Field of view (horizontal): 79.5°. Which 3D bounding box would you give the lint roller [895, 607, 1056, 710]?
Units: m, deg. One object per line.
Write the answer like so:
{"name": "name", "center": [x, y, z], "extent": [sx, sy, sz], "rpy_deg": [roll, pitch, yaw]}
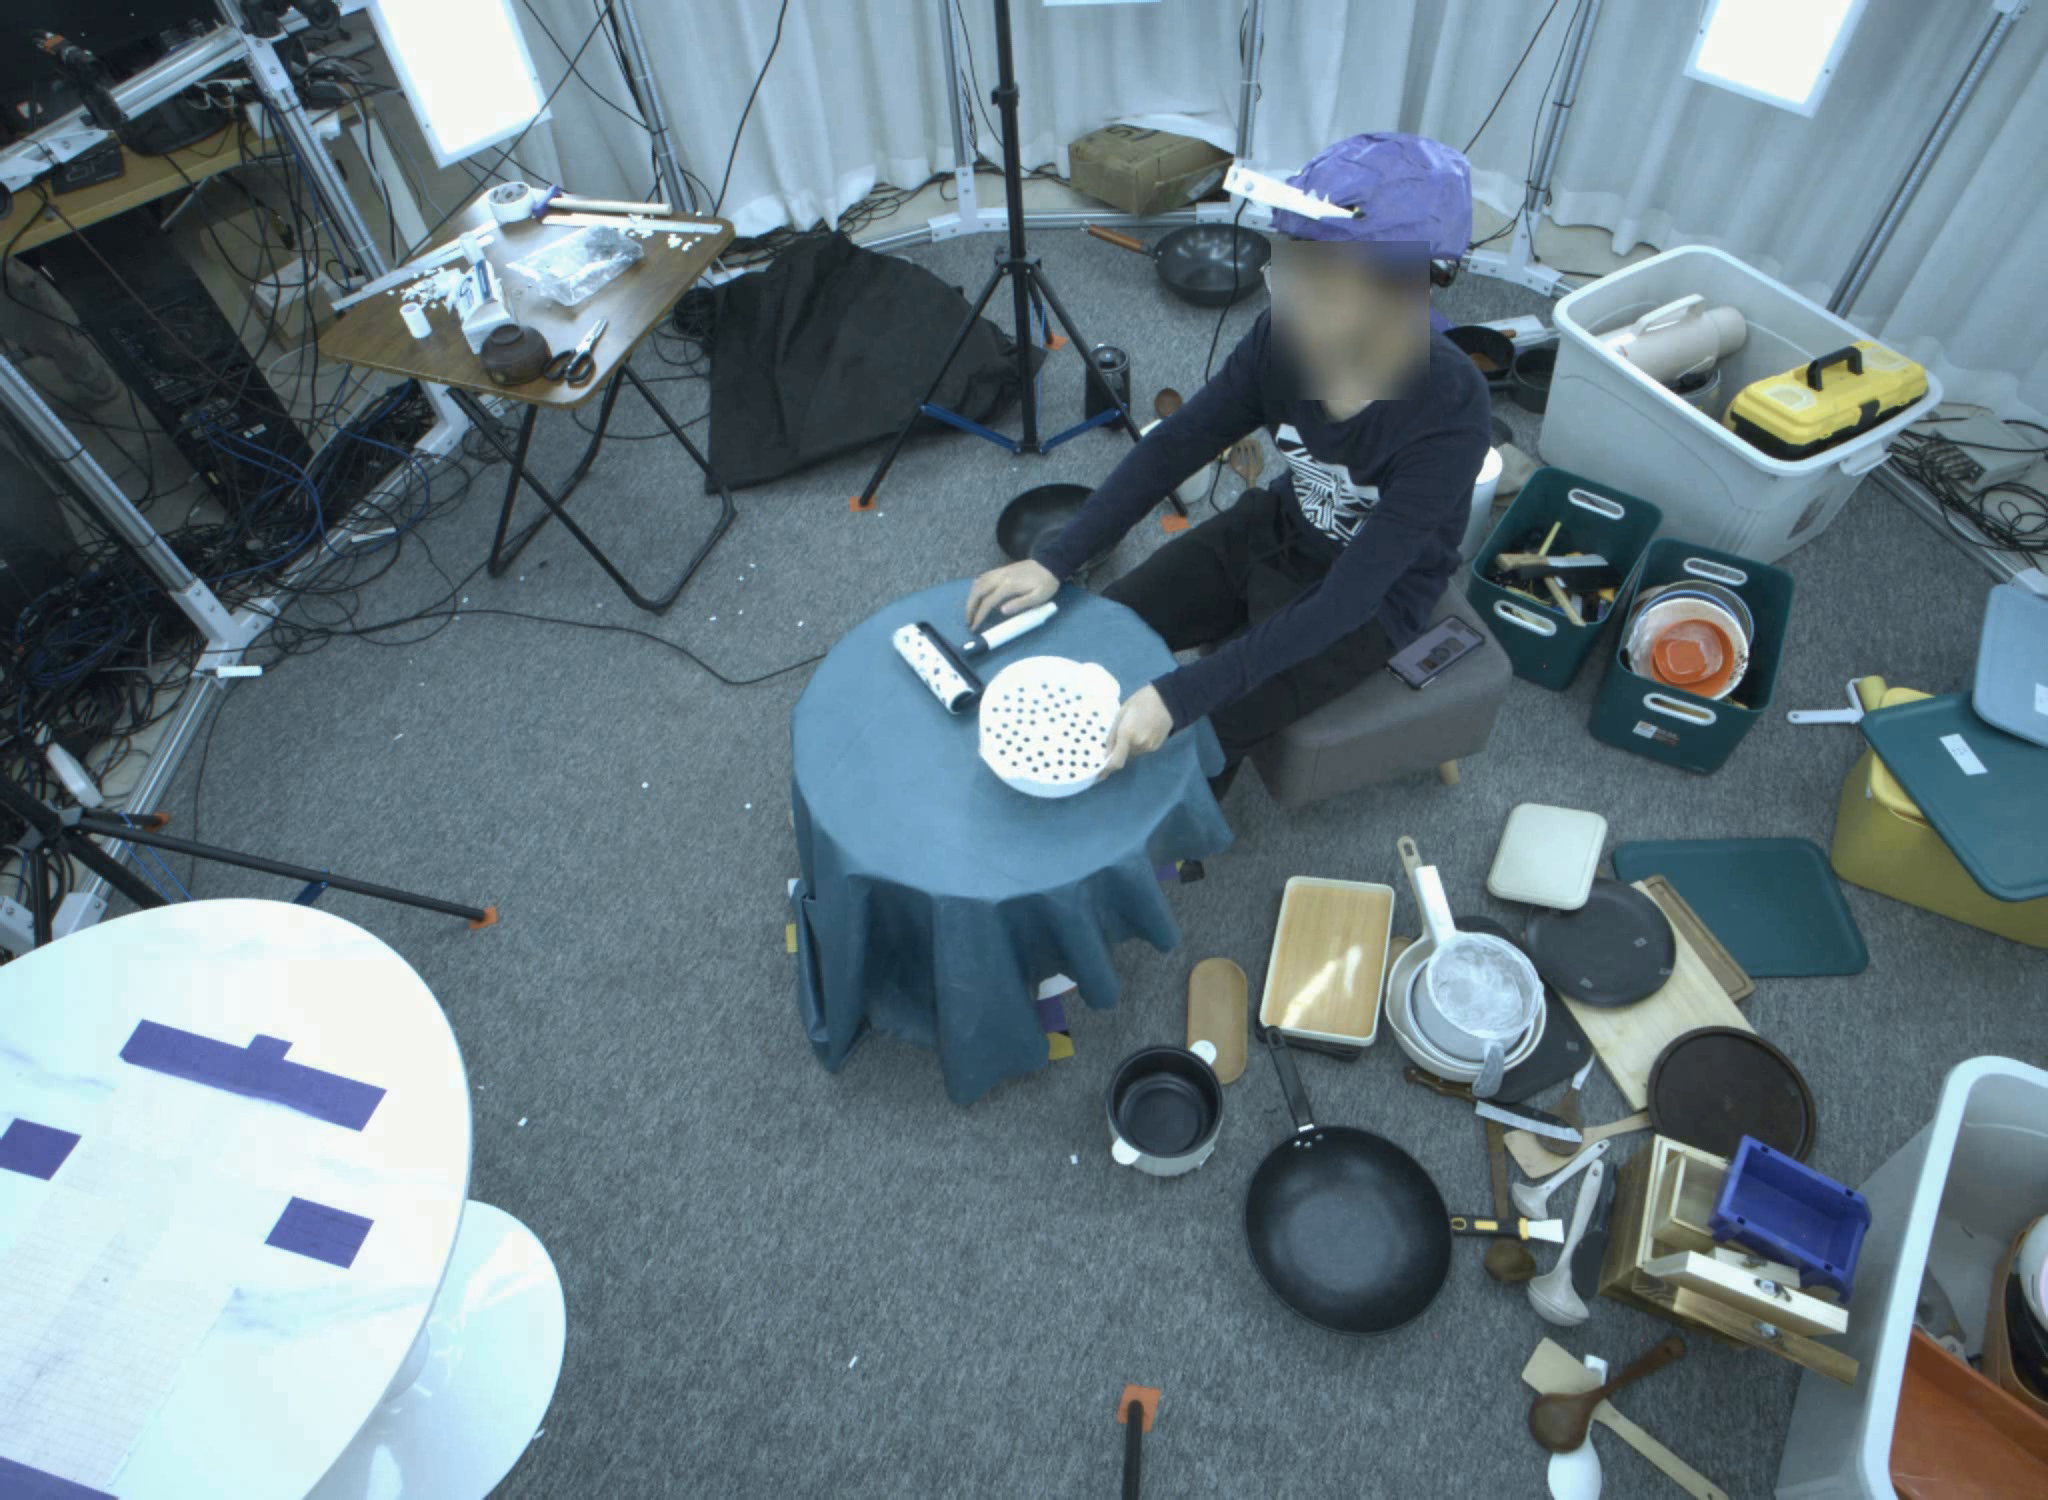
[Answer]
{"name": "lint roller", "center": [-0.055, -0.172, 1.895], "extent": [0.249, 0.051, 0.173], "rpy_deg": [-29, 58, -22]}

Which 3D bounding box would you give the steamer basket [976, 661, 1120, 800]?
{"name": "steamer basket", "center": [0.031, -0.026, 1.737], "extent": [0.232, 0.069, 0.200], "rpy_deg": [-37, 75, -27]}
